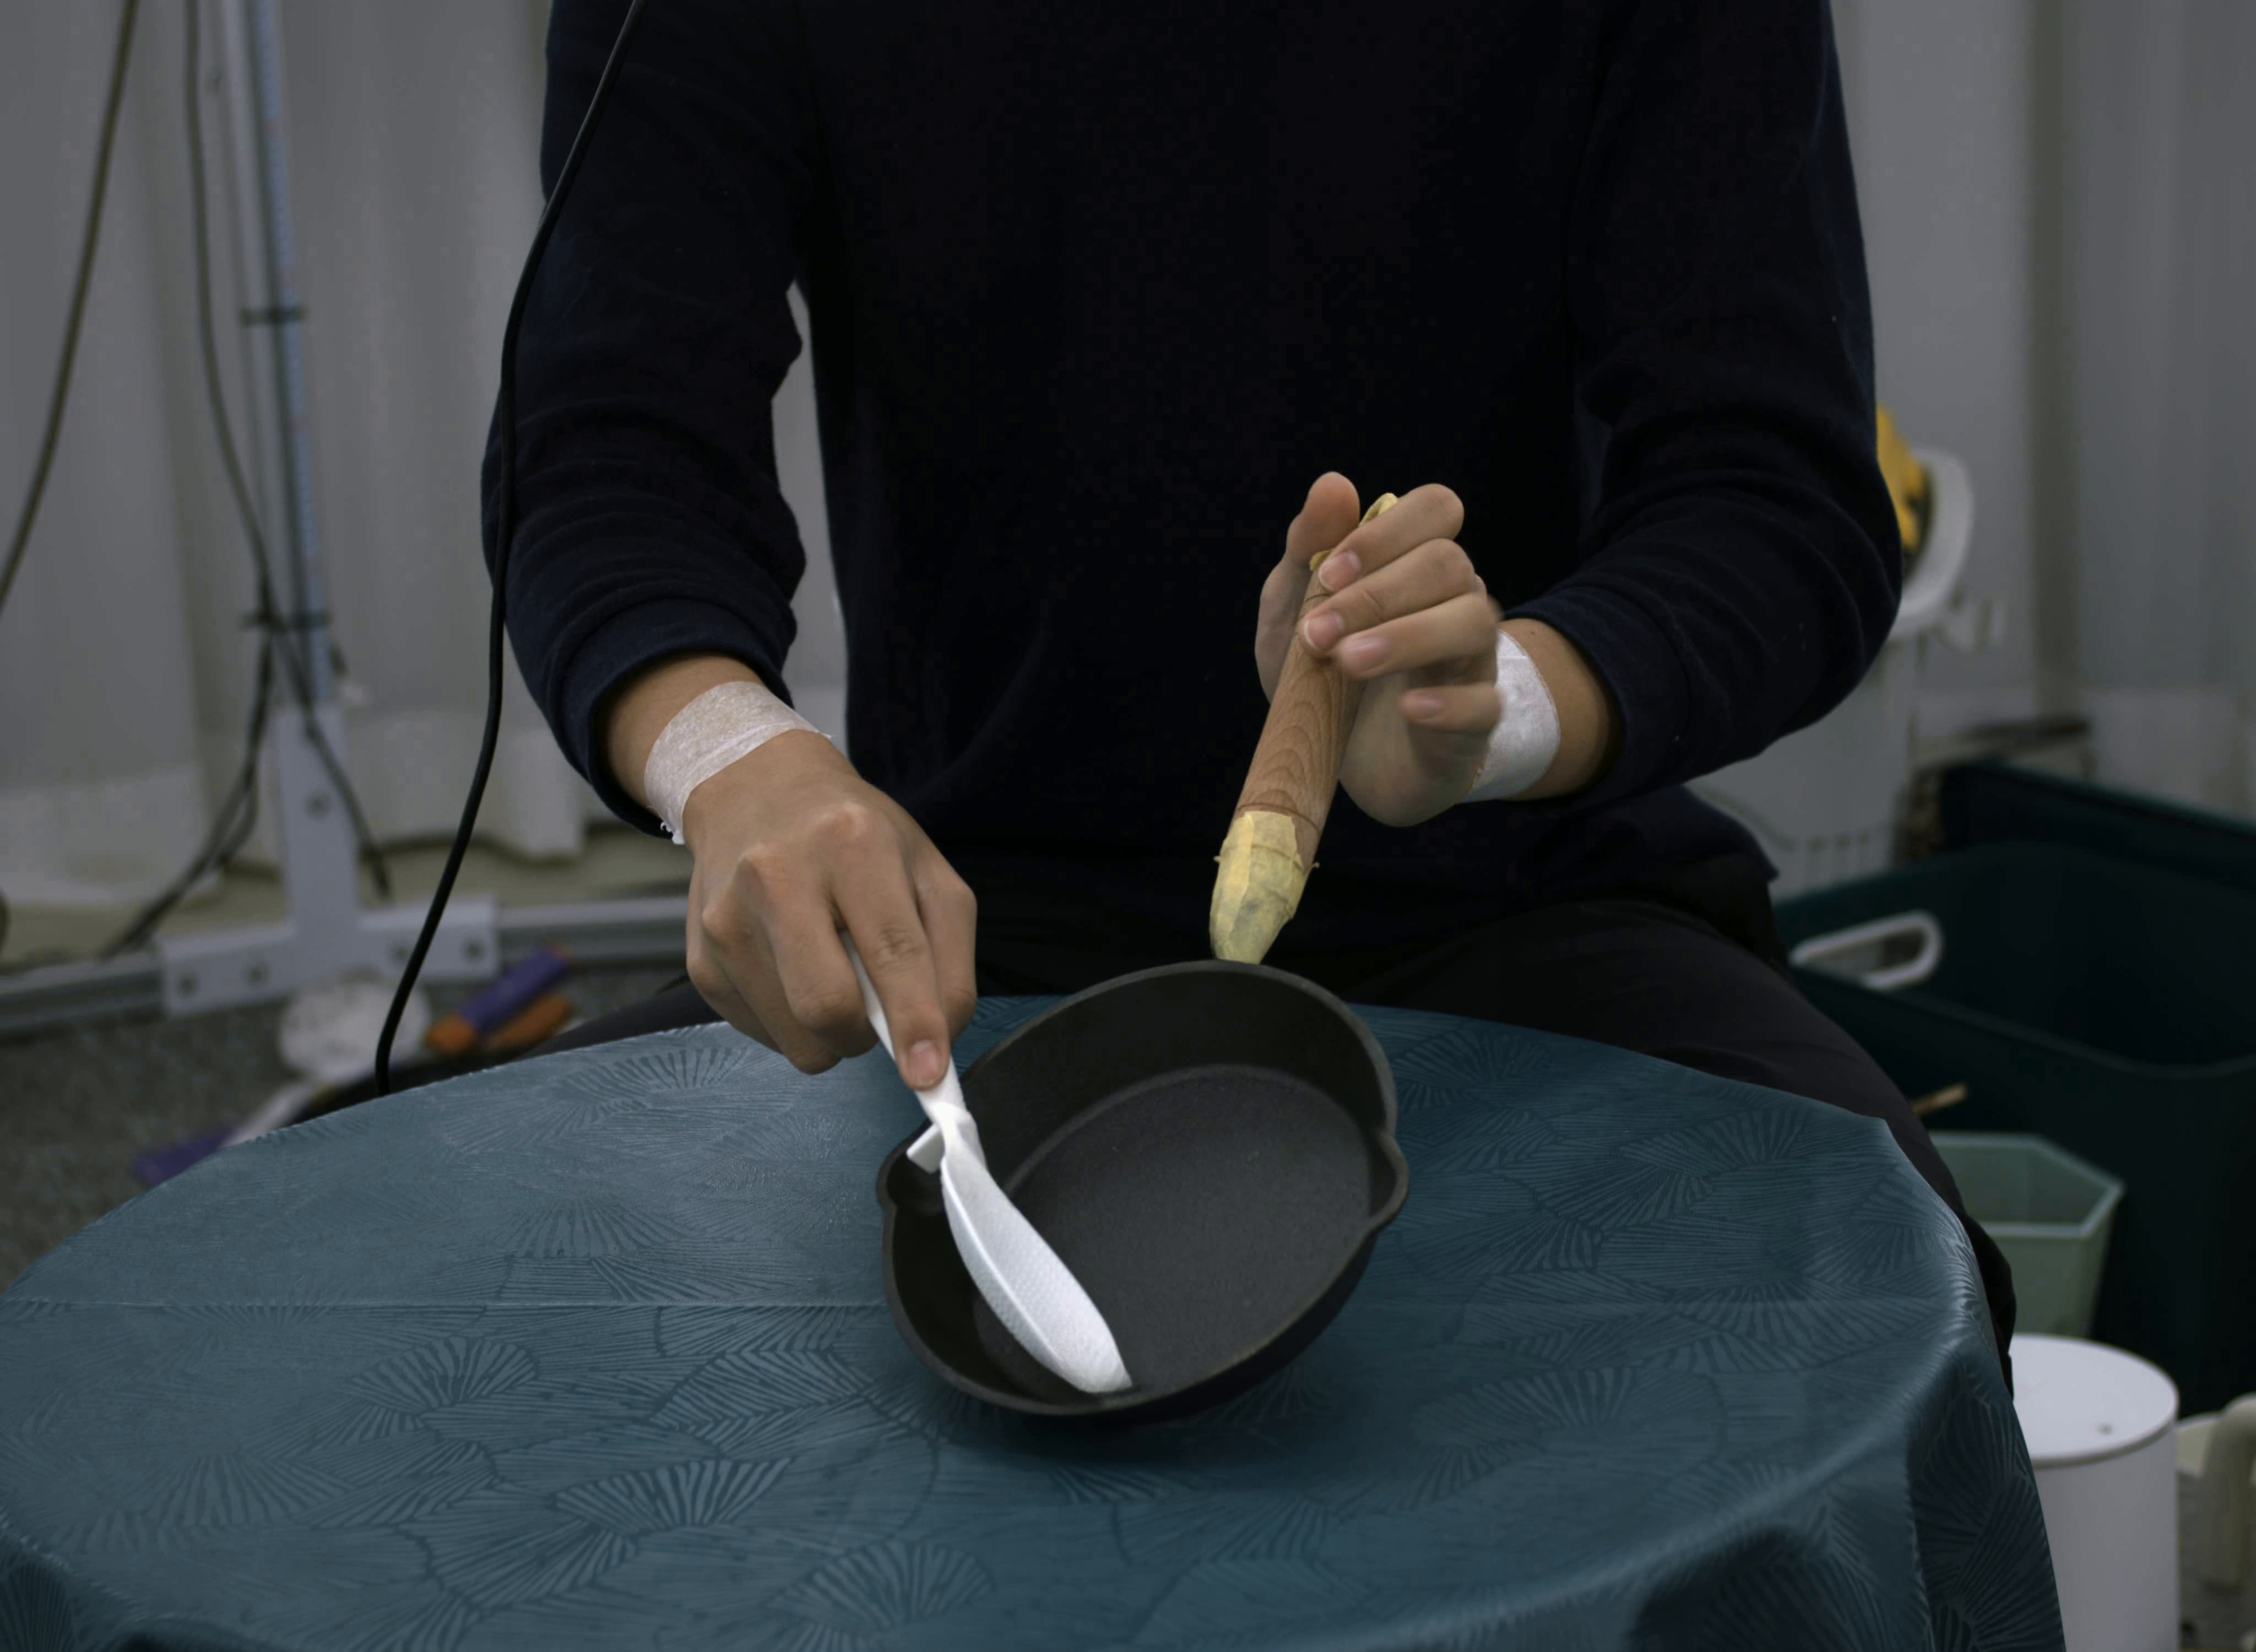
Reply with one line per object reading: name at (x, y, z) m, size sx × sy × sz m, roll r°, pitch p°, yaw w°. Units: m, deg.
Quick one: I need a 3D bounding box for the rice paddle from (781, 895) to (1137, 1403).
rice paddle at (-0.047, 0.092, 1.559) m, size 0.068 × 0.029 × 0.208 m, roll 39°, pitch 11°, yaw -44°

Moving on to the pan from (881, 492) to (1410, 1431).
pan at (0.034, 0.038, 1.587) m, size 0.169 × 0.049 × 0.328 m, roll 2°, pitch 52°, yaw 30°
